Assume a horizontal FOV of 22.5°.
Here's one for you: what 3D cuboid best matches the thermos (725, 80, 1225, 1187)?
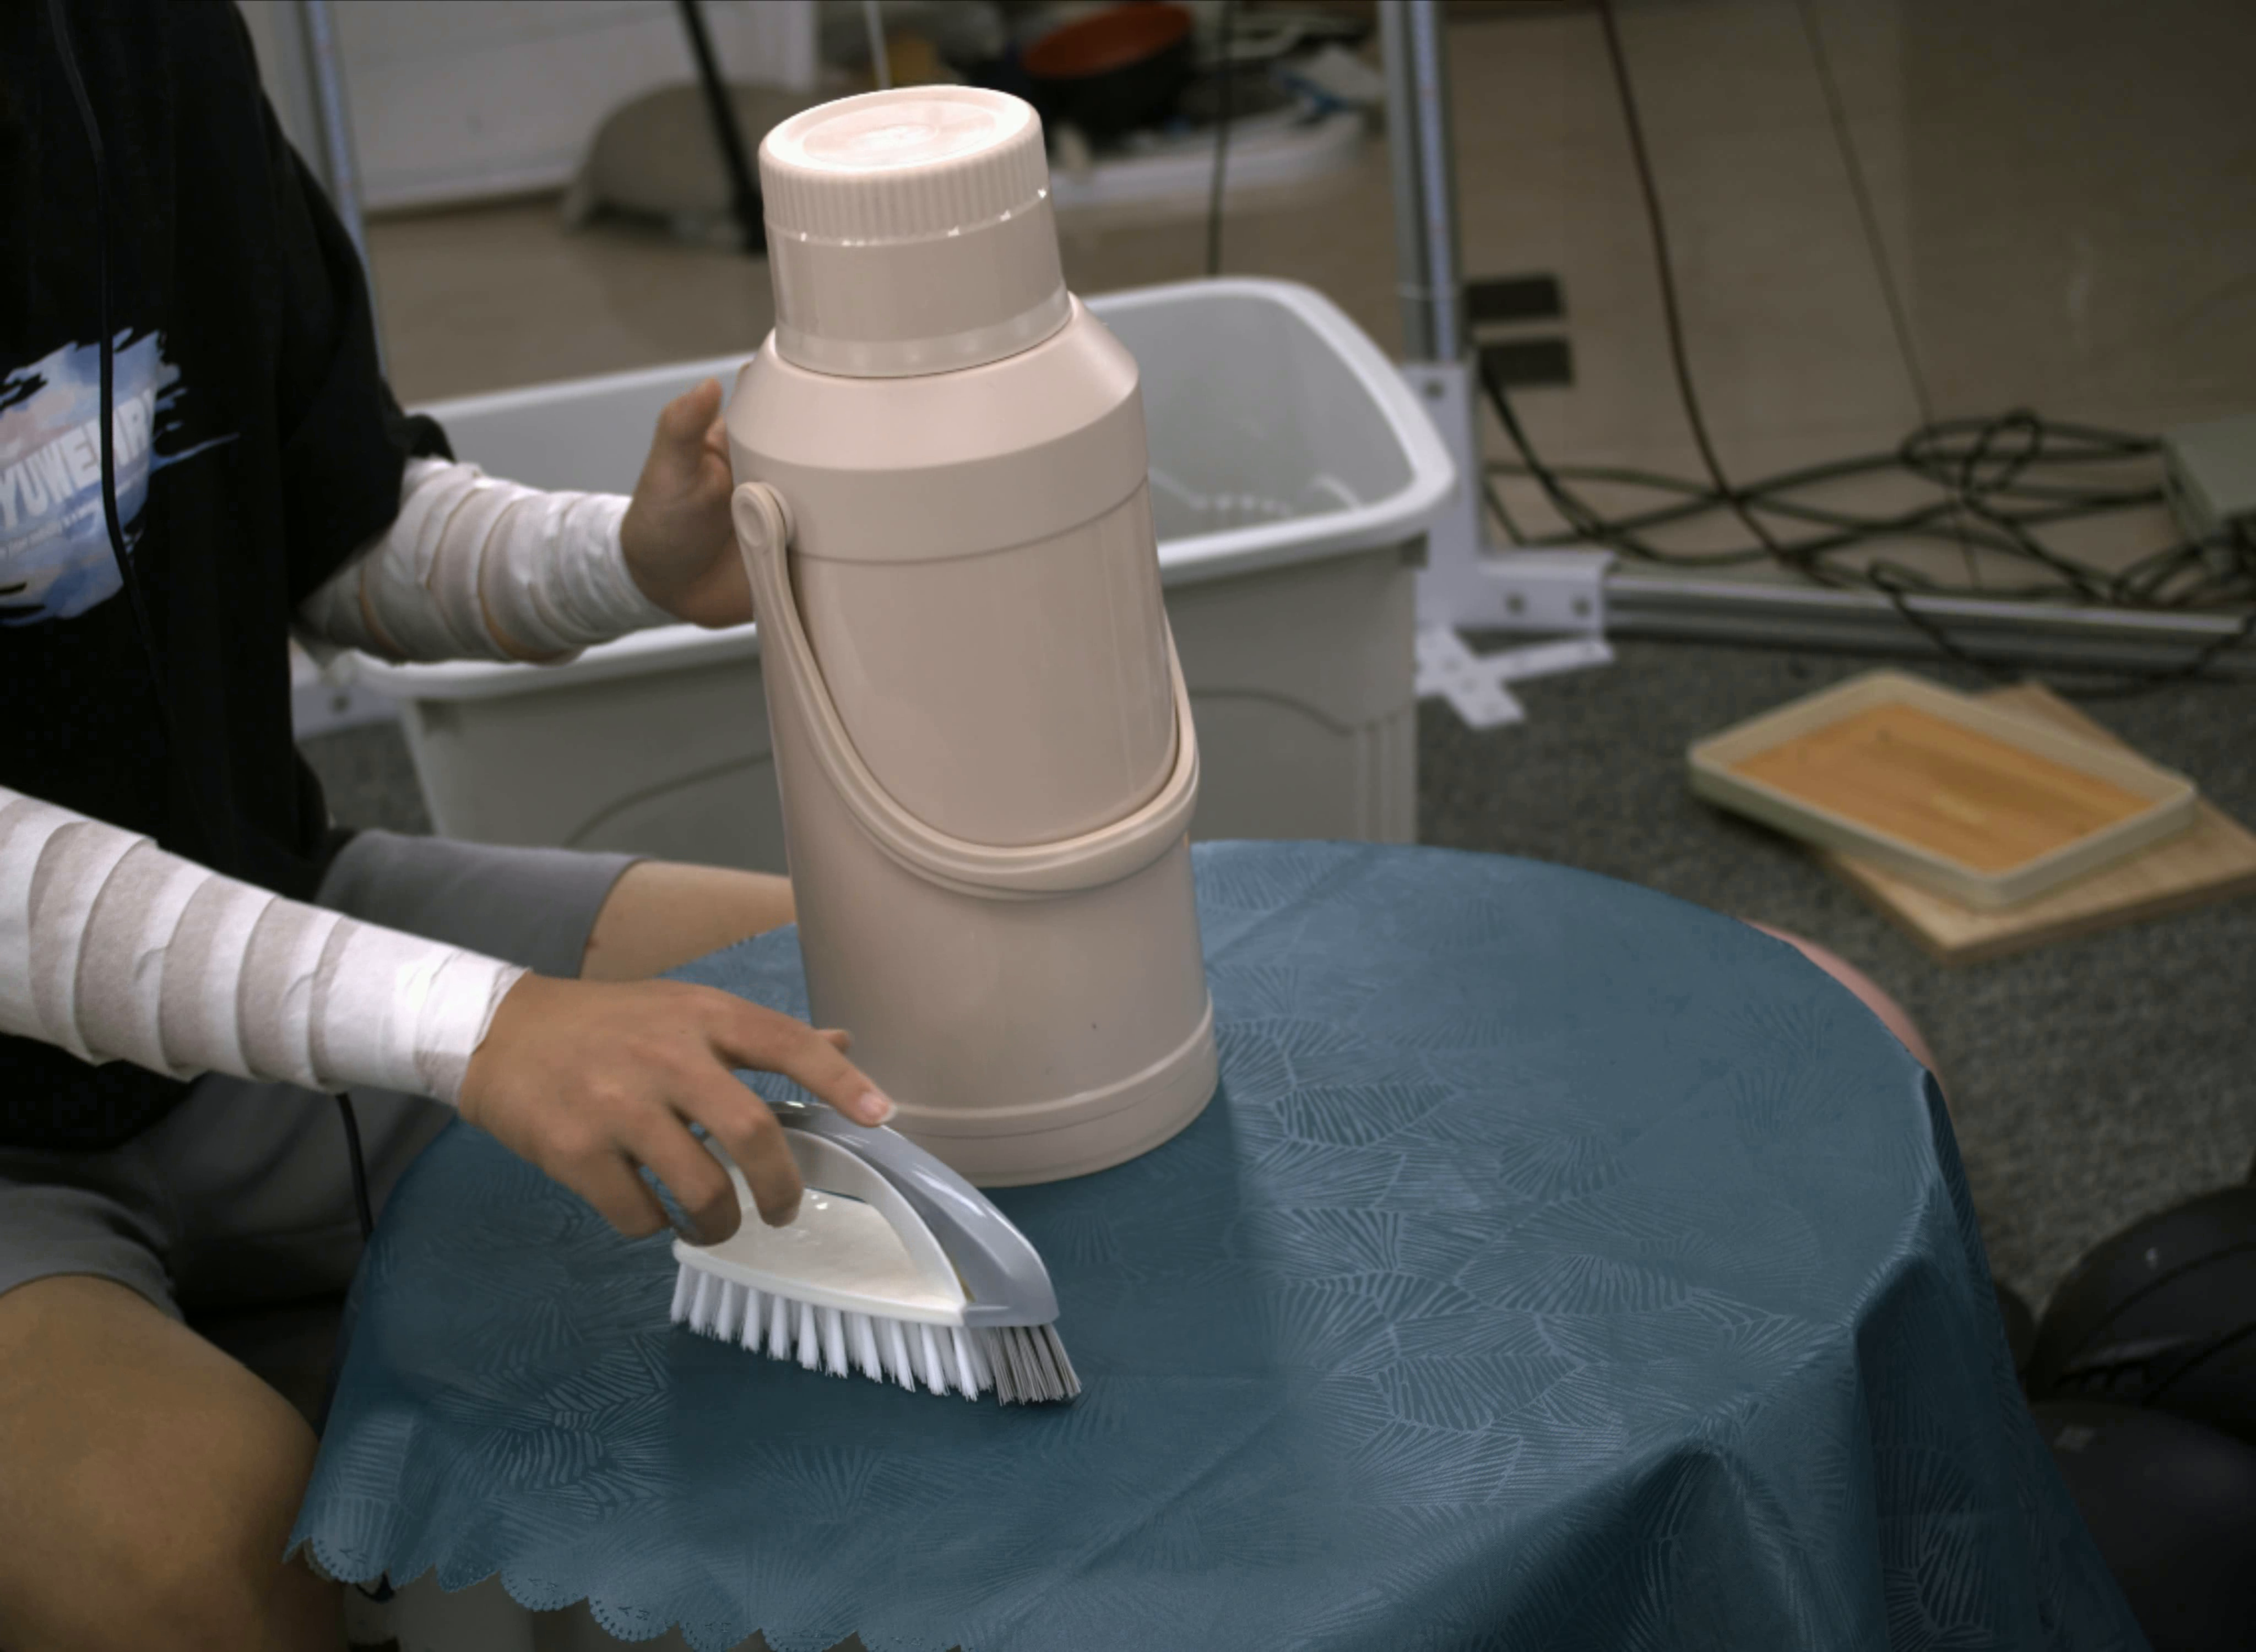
[{"bbox_3d":[-0.070,-0.078,2.155,0.174,0.413,0.205,-26,31,-32],"label":"thermos"}]

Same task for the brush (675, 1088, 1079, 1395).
[{"bbox_3d":[-0.091,0.146,2.043,0.174,0.096,0.061,16,36,36],"label":"brush"}]
